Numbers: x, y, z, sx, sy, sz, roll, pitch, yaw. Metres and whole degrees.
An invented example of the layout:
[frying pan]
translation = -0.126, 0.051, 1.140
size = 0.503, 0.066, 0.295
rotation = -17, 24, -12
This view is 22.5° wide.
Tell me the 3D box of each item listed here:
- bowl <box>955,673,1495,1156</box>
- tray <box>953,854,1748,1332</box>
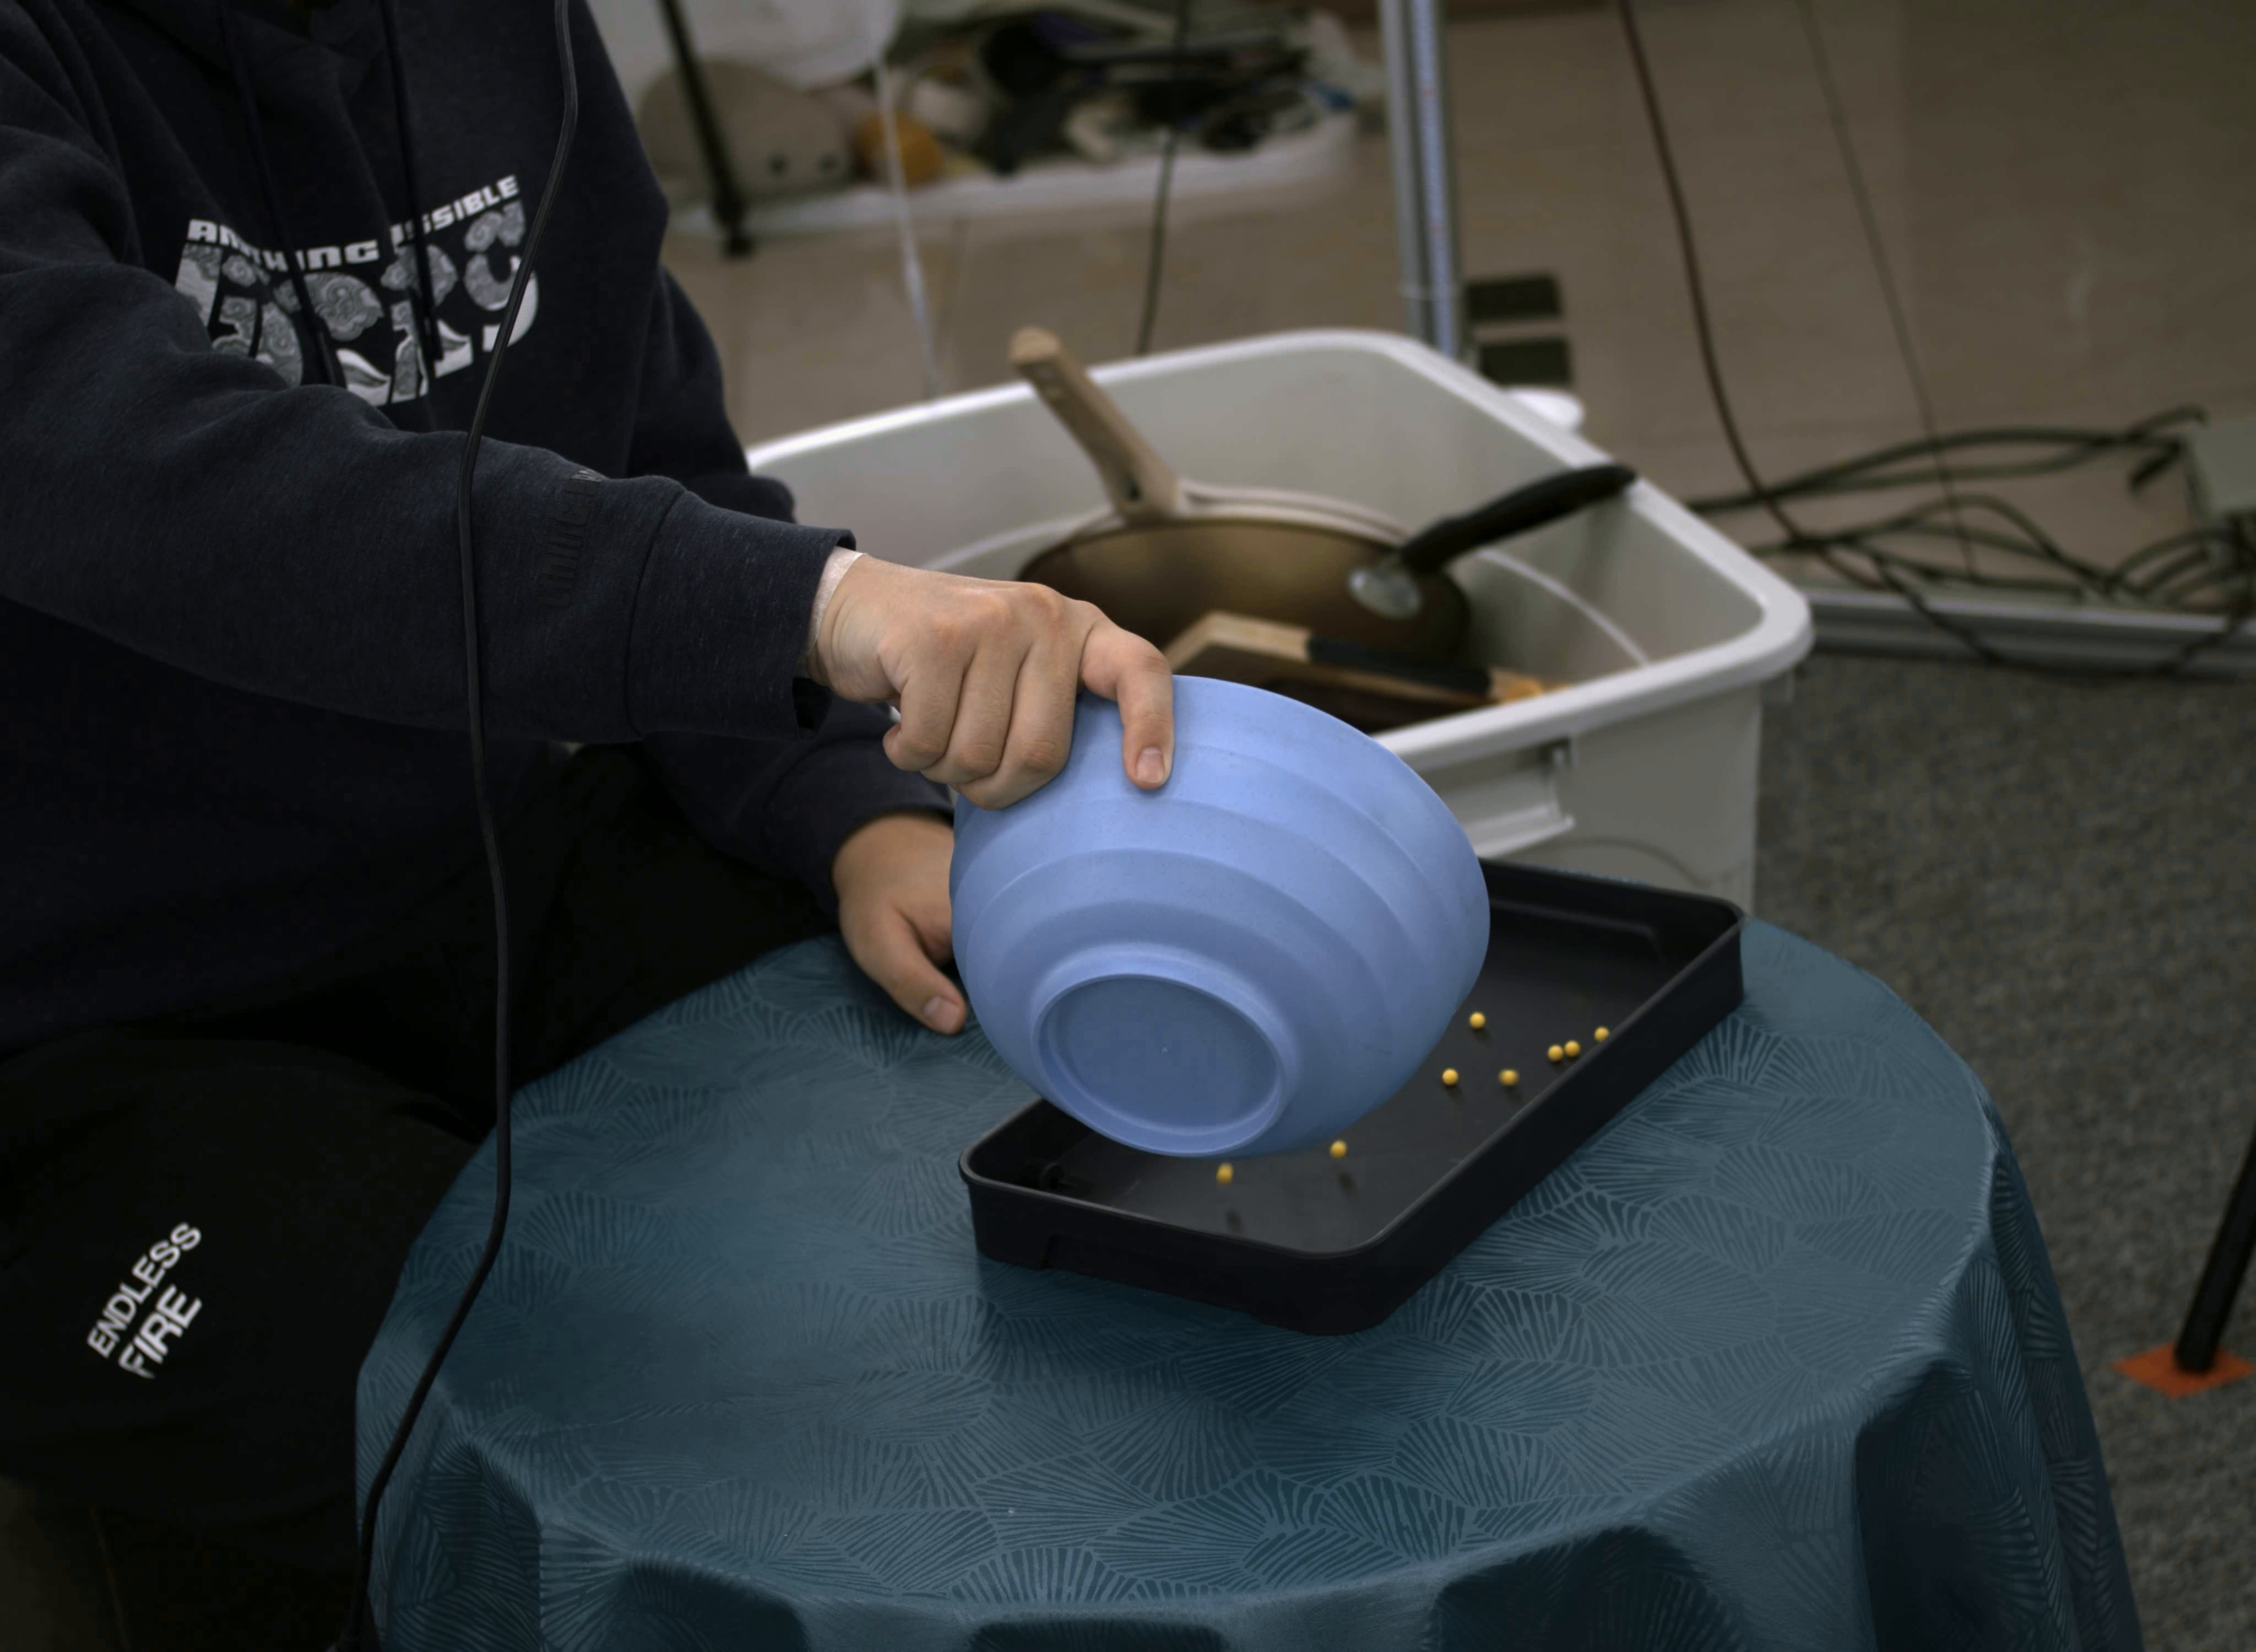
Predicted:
[bowl]
translation = 0.022, 0.049, 1.986
size = 0.196, 0.200, 0.094
rotation = 3, 45, 19
[tray]
translation = 0.091, 0.094, 2.177
size = 0.183, 0.037, 0.314
rotation = 11, 29, 33
